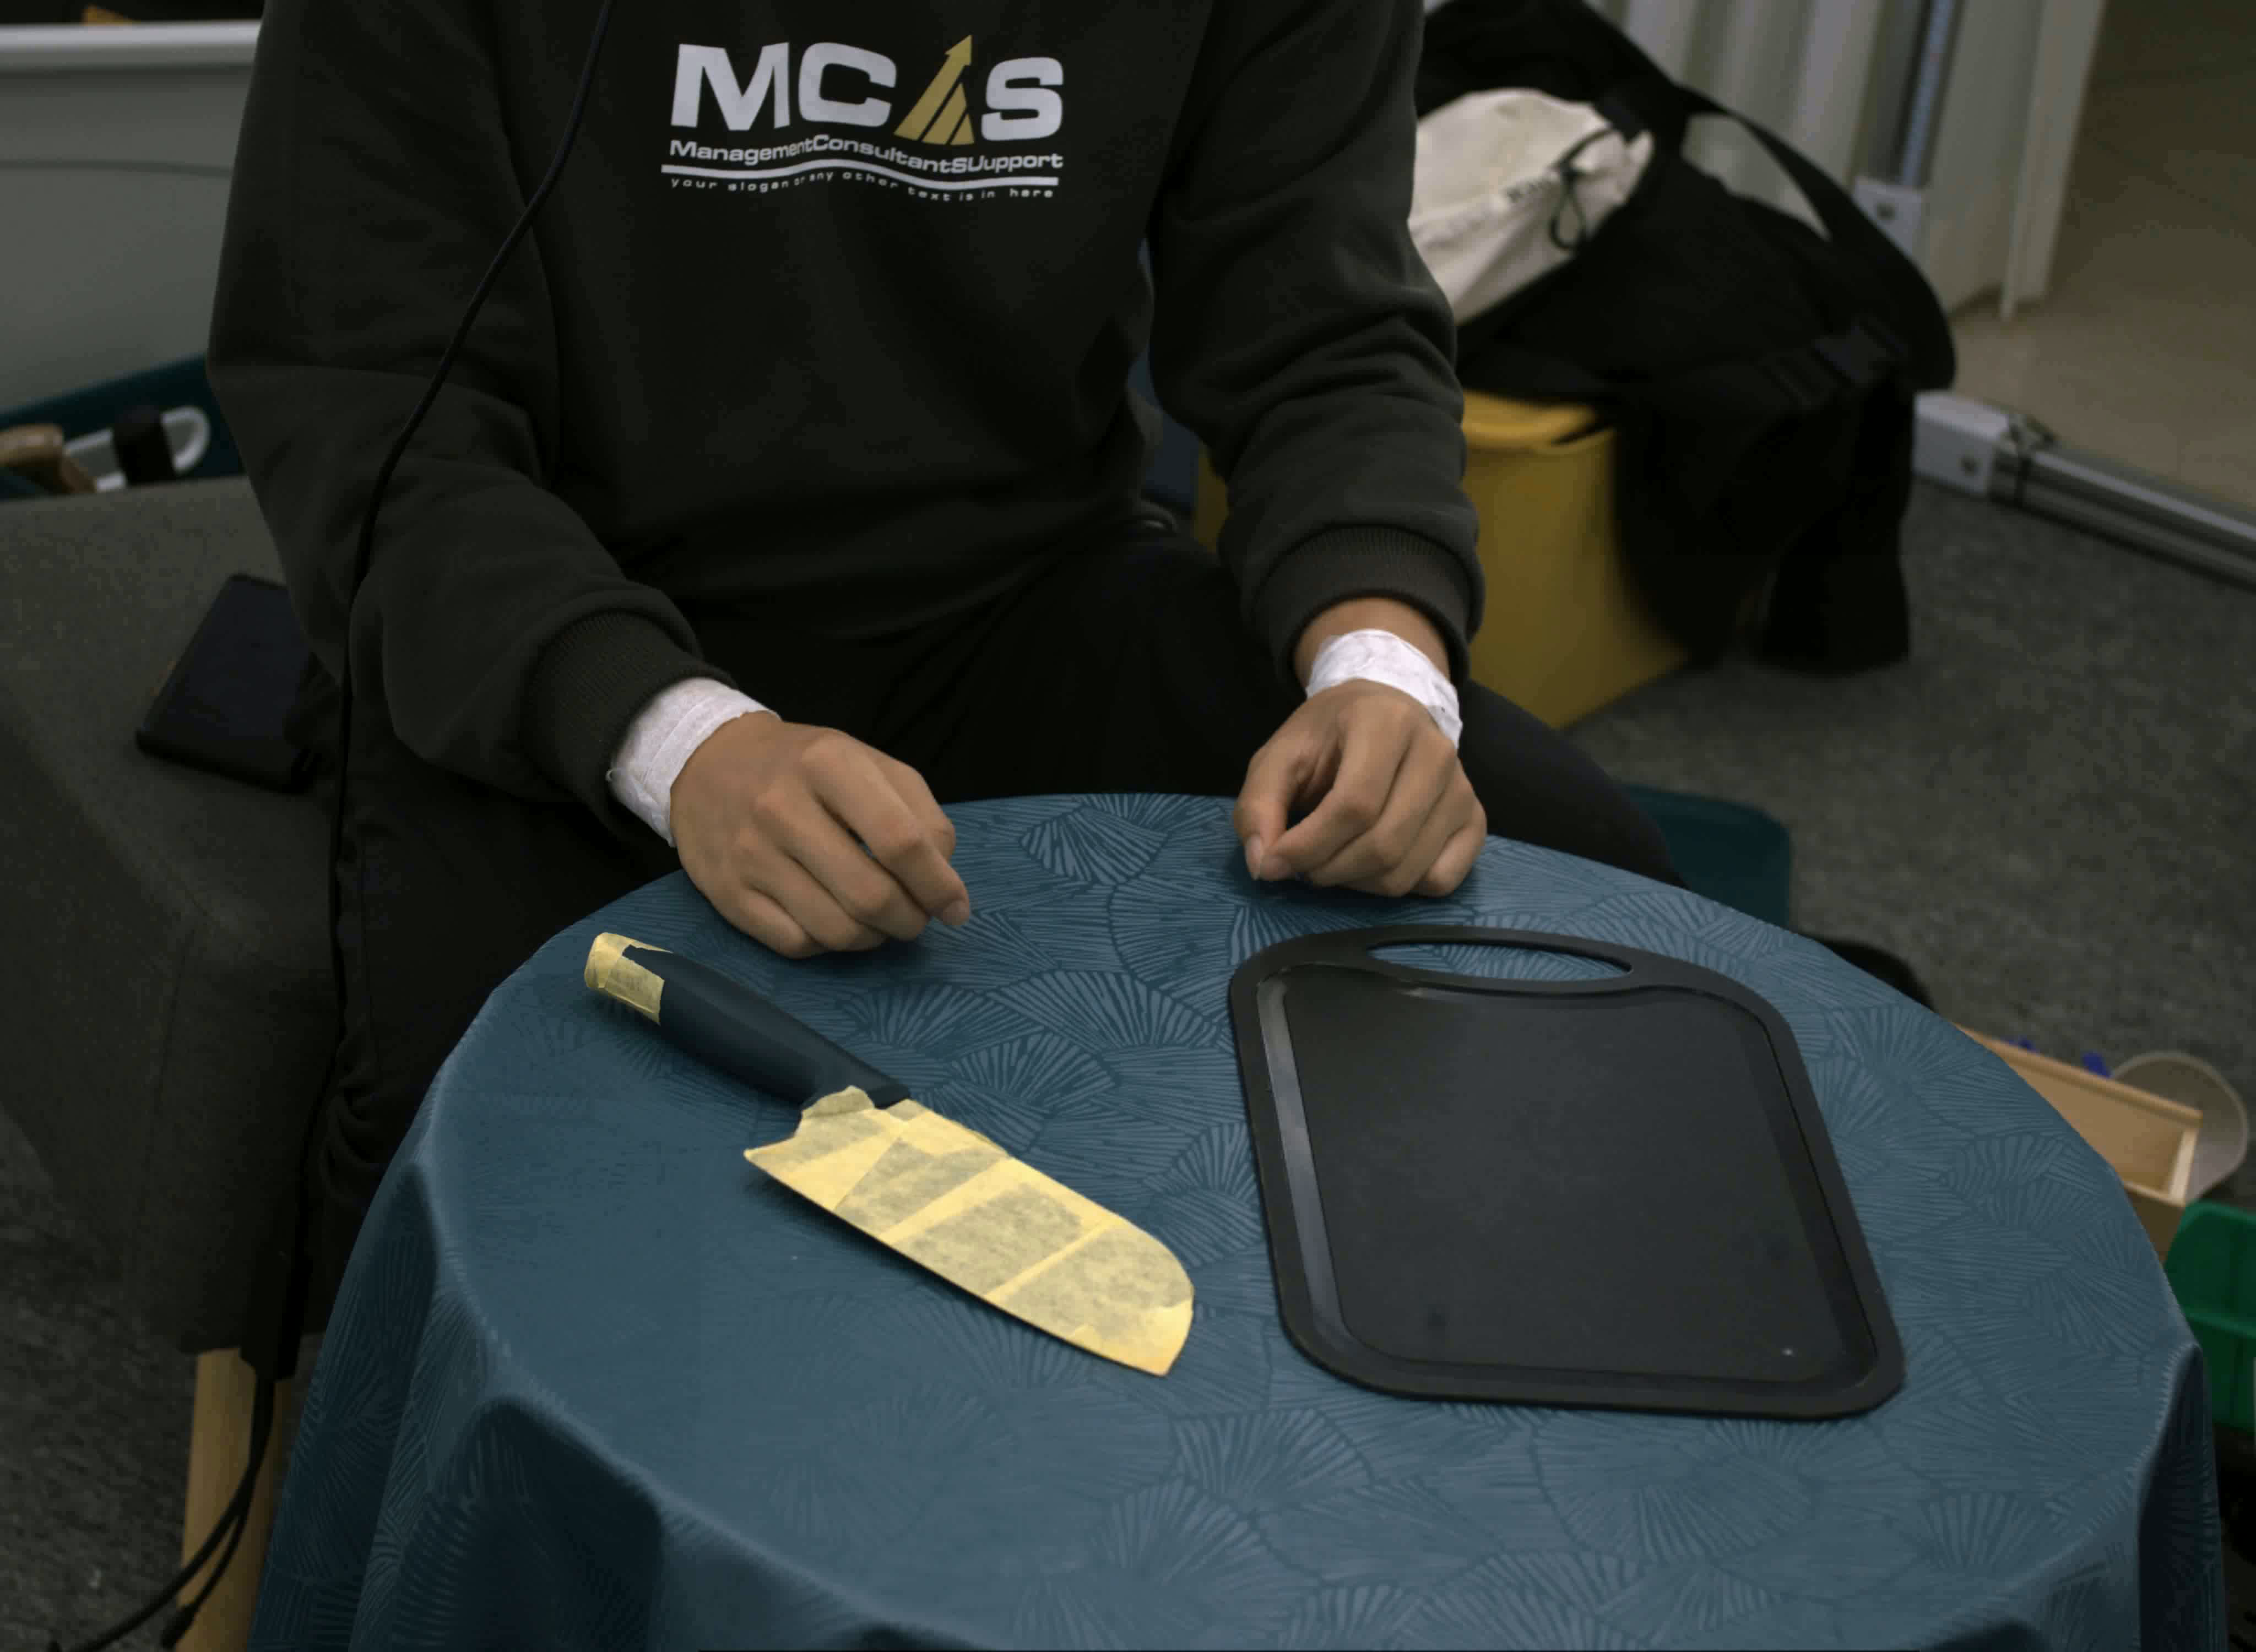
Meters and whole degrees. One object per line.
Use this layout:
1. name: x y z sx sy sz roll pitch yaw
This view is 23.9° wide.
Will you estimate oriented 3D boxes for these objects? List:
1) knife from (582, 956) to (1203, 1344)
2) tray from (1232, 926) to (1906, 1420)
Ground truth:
1. knife: -0.088 0.111 1.796 0.291 0.027 0.080 27 32 34
2. tray: 0.146 0.112 1.854 0.210 0.010 0.327 4 27 -5
